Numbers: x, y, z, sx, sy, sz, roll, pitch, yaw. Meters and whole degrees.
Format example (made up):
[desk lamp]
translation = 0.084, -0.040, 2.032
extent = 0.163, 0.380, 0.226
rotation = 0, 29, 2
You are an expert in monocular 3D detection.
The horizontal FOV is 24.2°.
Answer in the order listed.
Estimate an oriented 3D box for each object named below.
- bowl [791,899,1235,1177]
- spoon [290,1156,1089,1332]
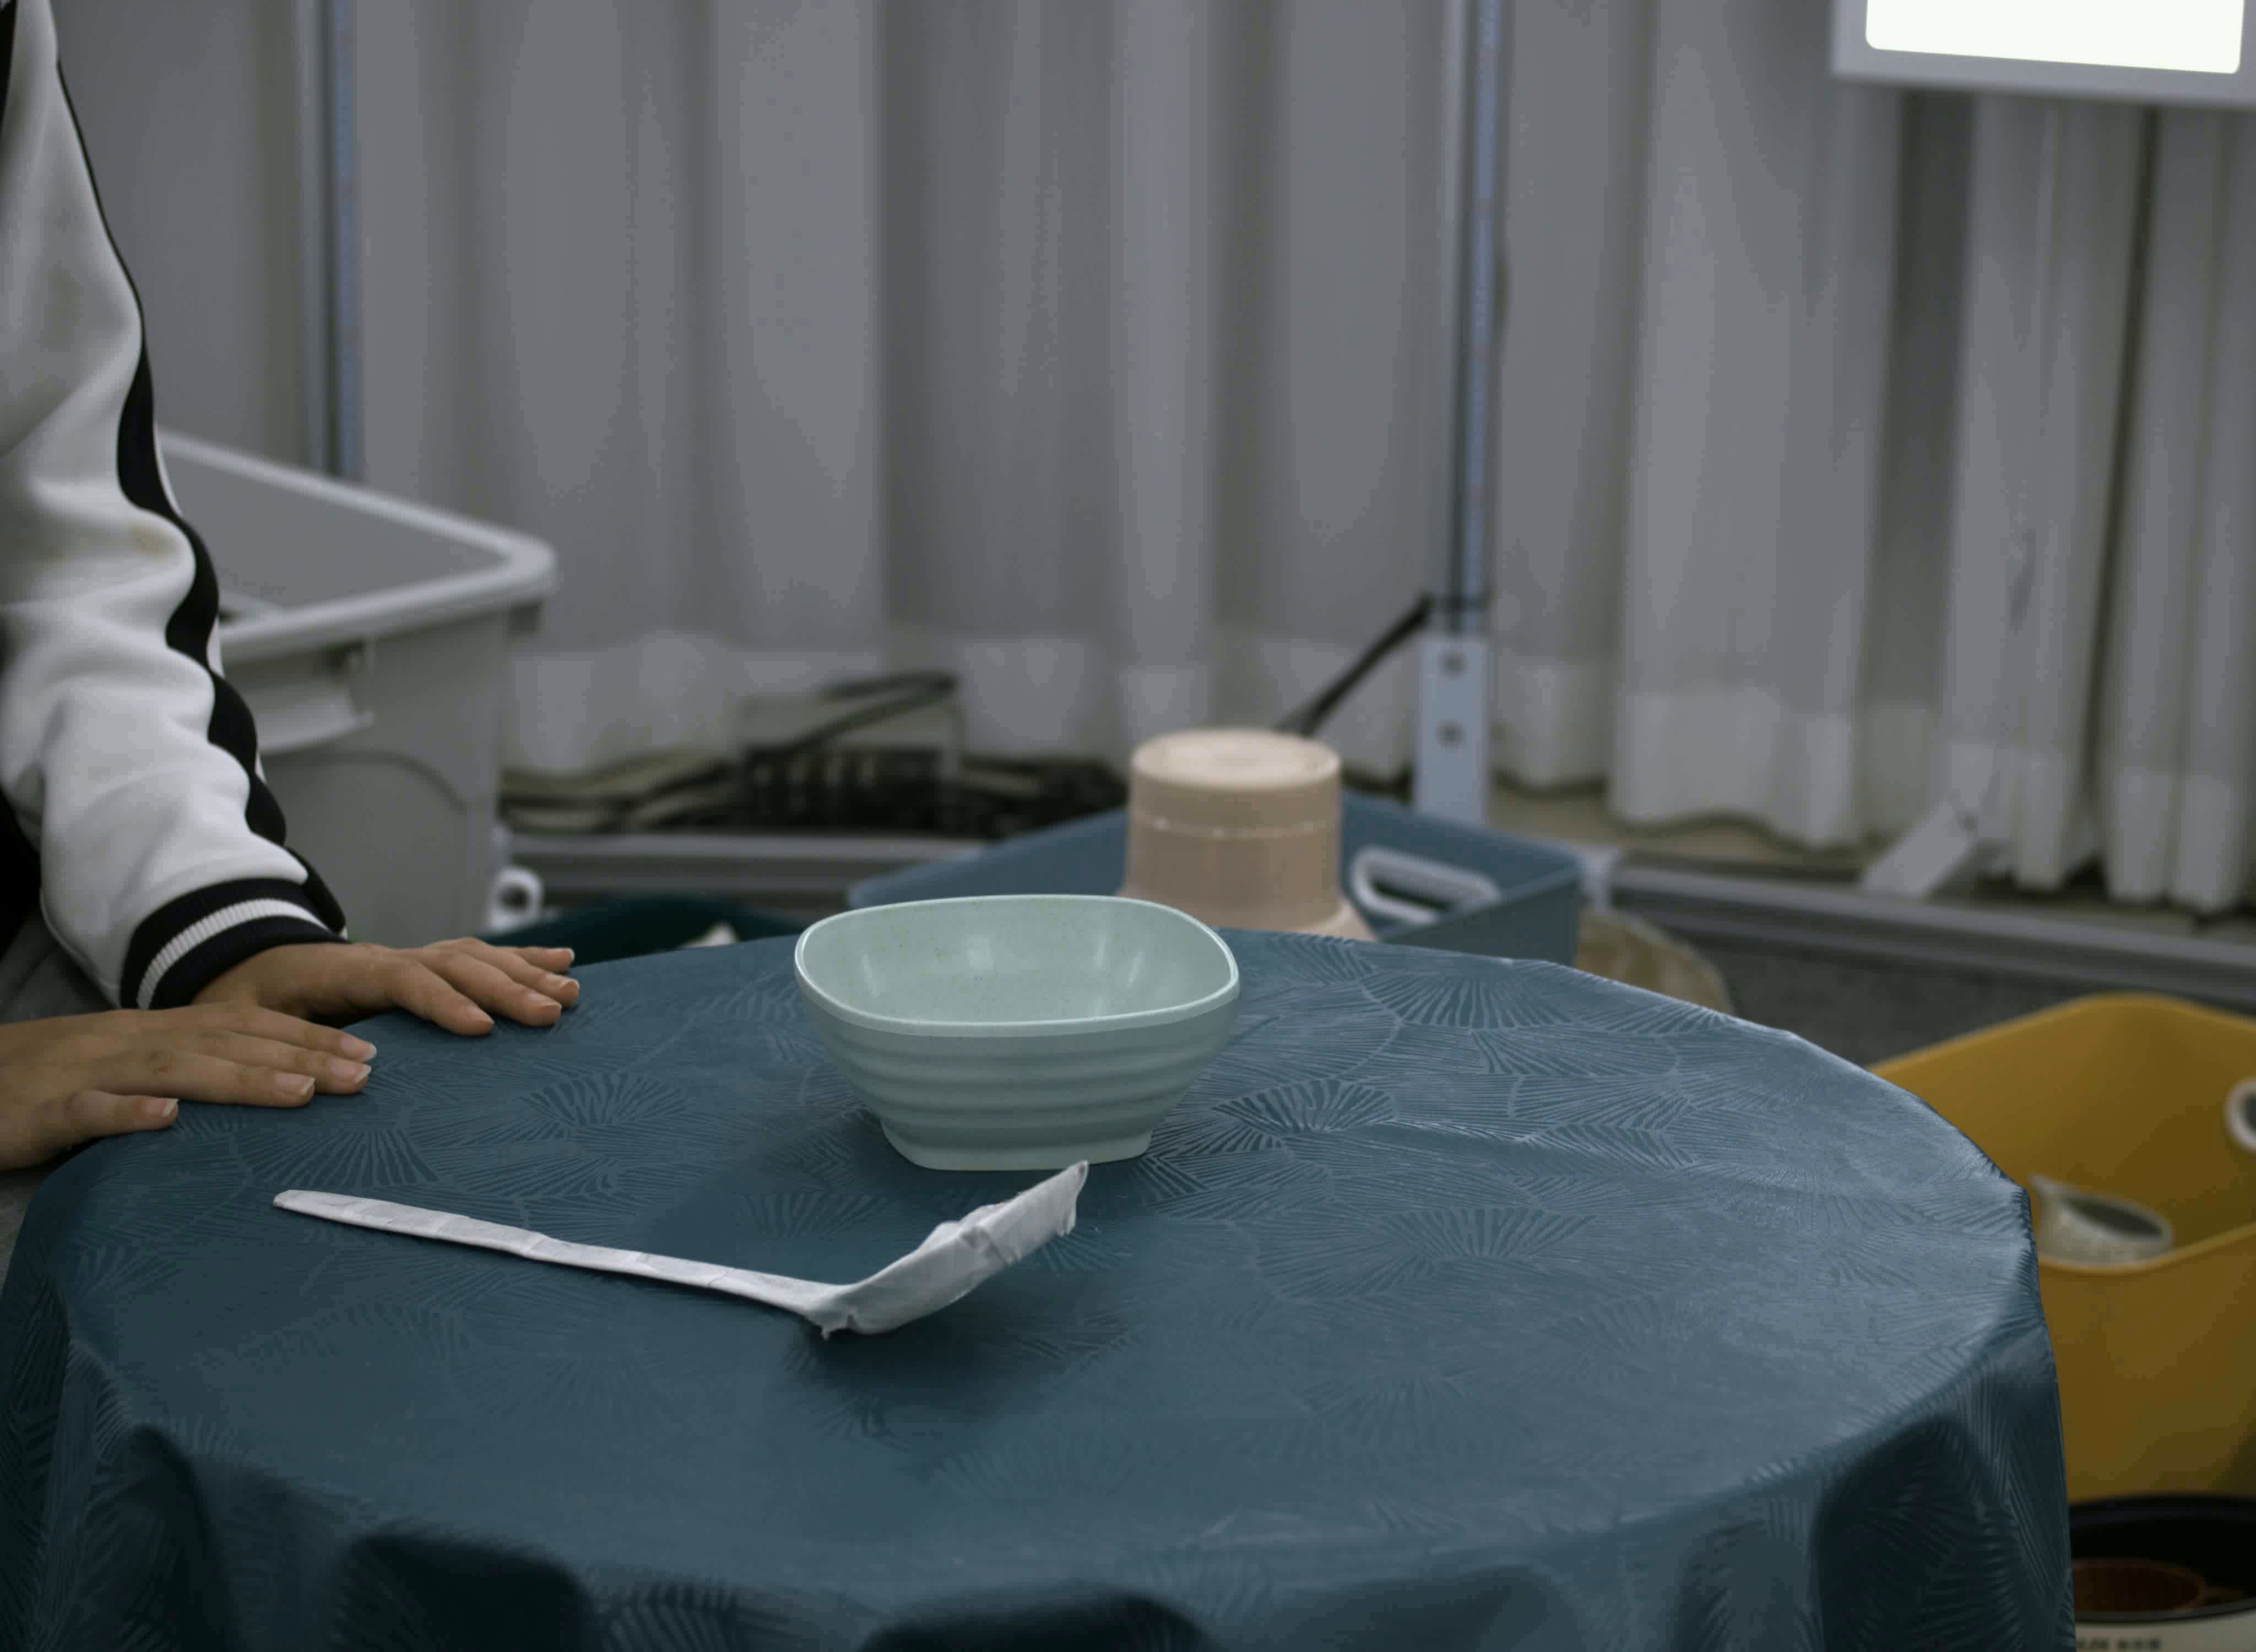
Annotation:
[bowl]
translation = -0.037, 0.070, 1.671
extent = 0.151, 0.059, 0.150
rotation = 1, 16, 0
[spoon]
translation = -0.135, 0.103, 1.544
extent = 0.274, 0.060, 0.101
rotation = 10, 14, 30
